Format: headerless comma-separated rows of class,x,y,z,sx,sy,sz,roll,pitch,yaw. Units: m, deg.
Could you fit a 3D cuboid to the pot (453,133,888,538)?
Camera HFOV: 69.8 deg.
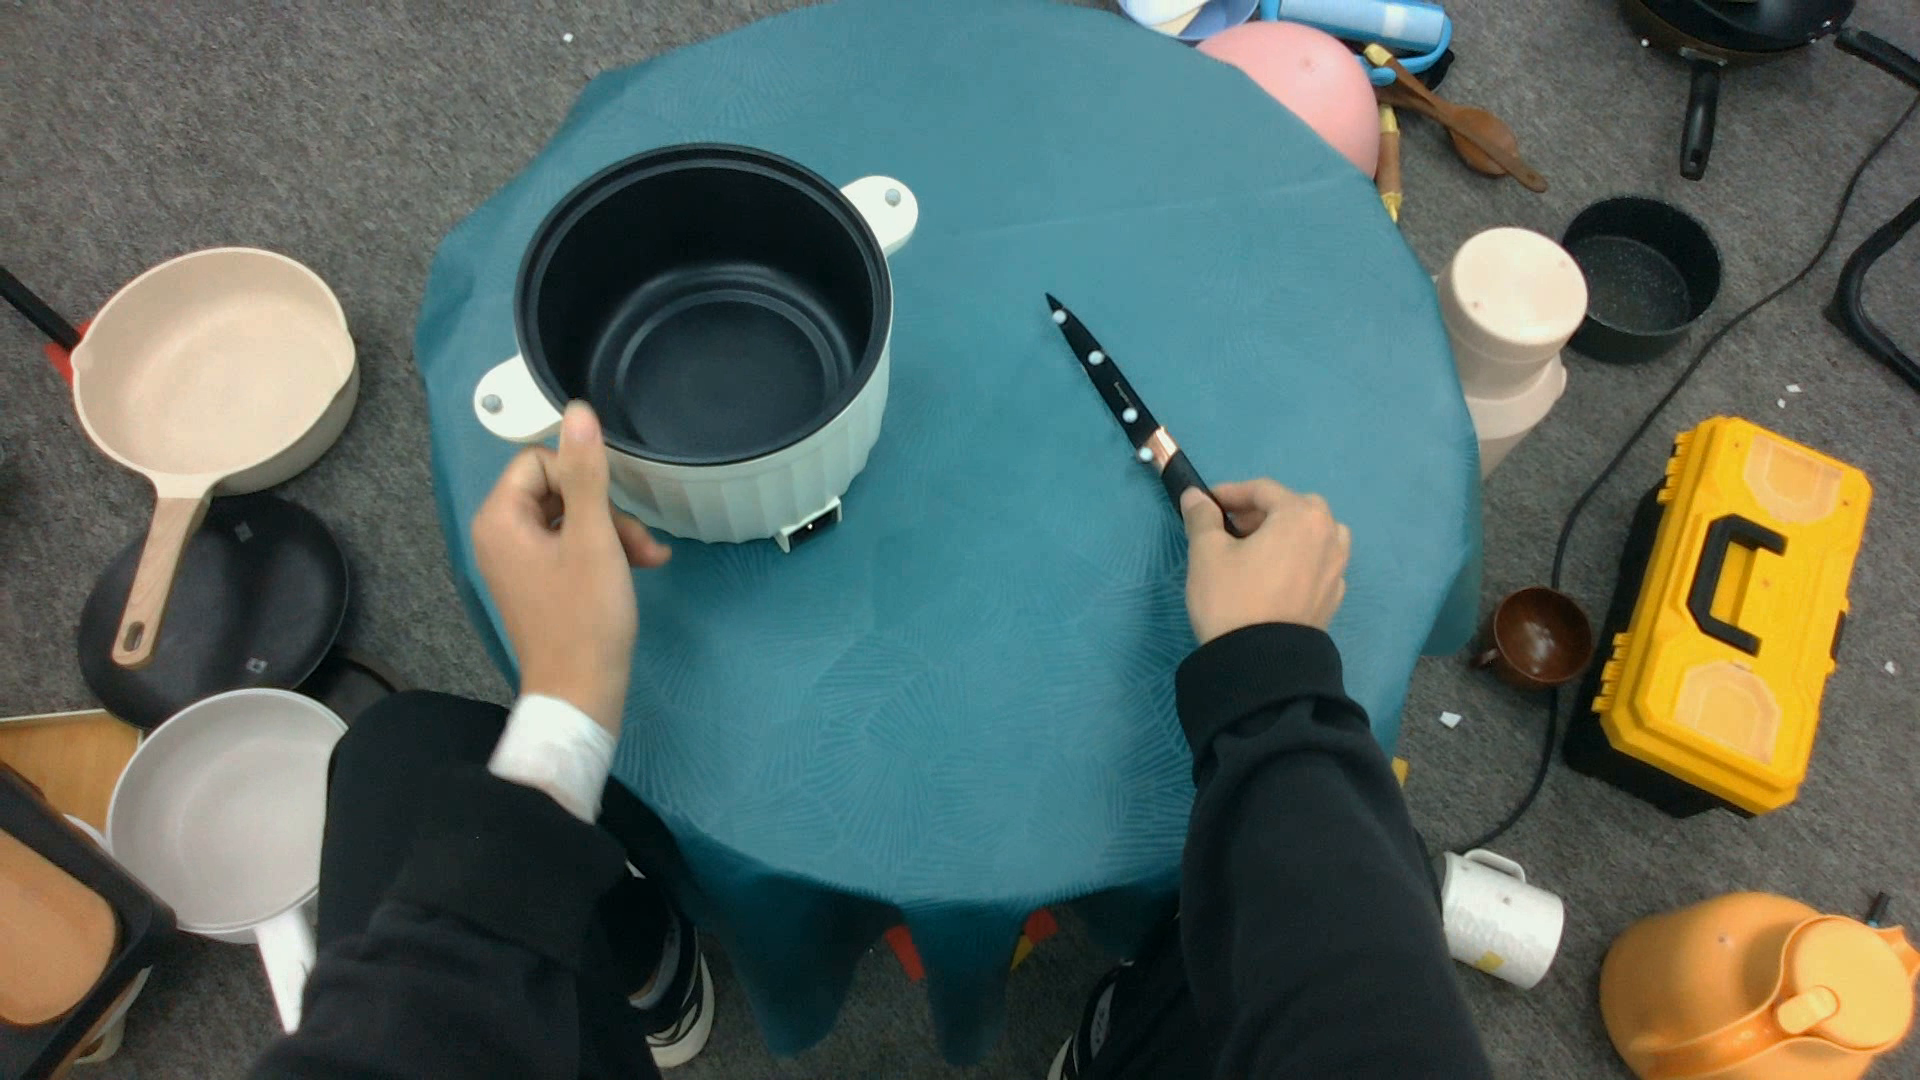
pot,-0.146,-0.103,0.730,0.241,0.142,0.190,-33,77,-18

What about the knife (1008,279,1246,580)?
knife,0.095,-0.069,0.800,0.017,0.026,0.226,-18,69,-50
